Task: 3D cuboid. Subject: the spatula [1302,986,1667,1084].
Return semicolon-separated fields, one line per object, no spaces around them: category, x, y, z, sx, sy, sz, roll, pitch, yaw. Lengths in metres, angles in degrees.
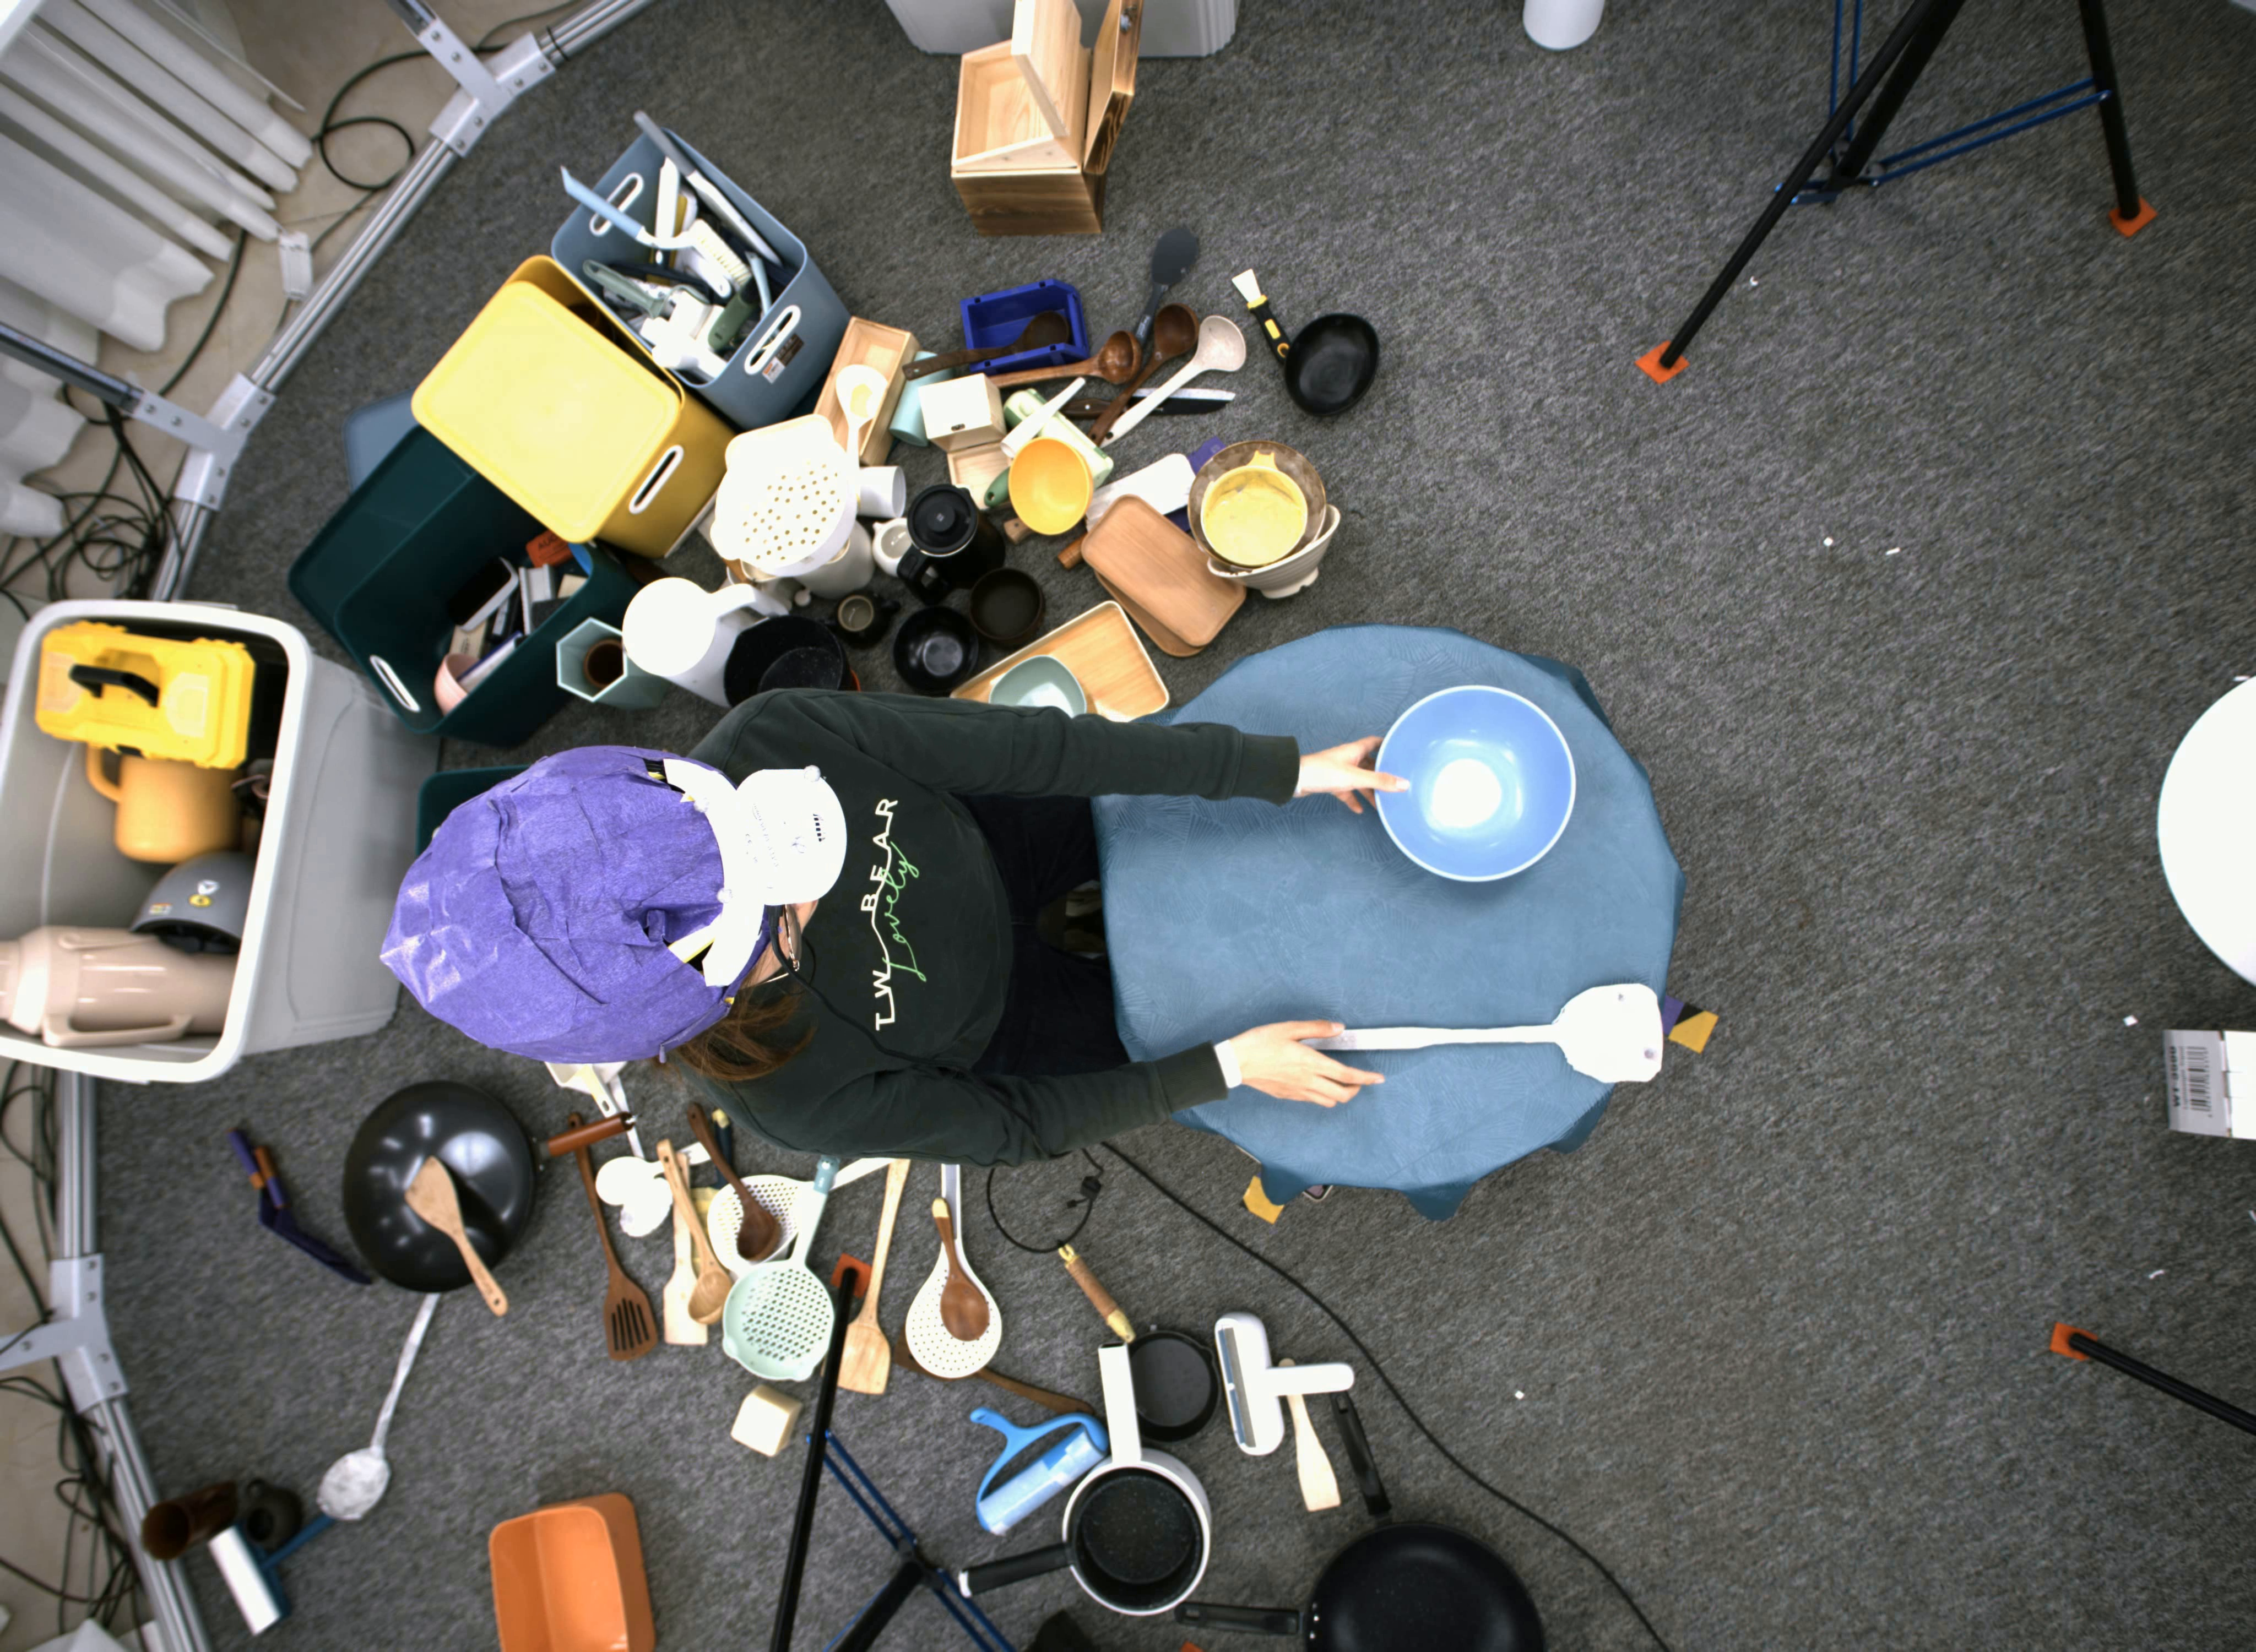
spatula;0.361;0.212;1.419;0.366;0.045;0.098;-2;87;10

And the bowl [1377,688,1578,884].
bowl;0.353;-0.037;1.409;0.197;0.095;0.195;-1;86;9
